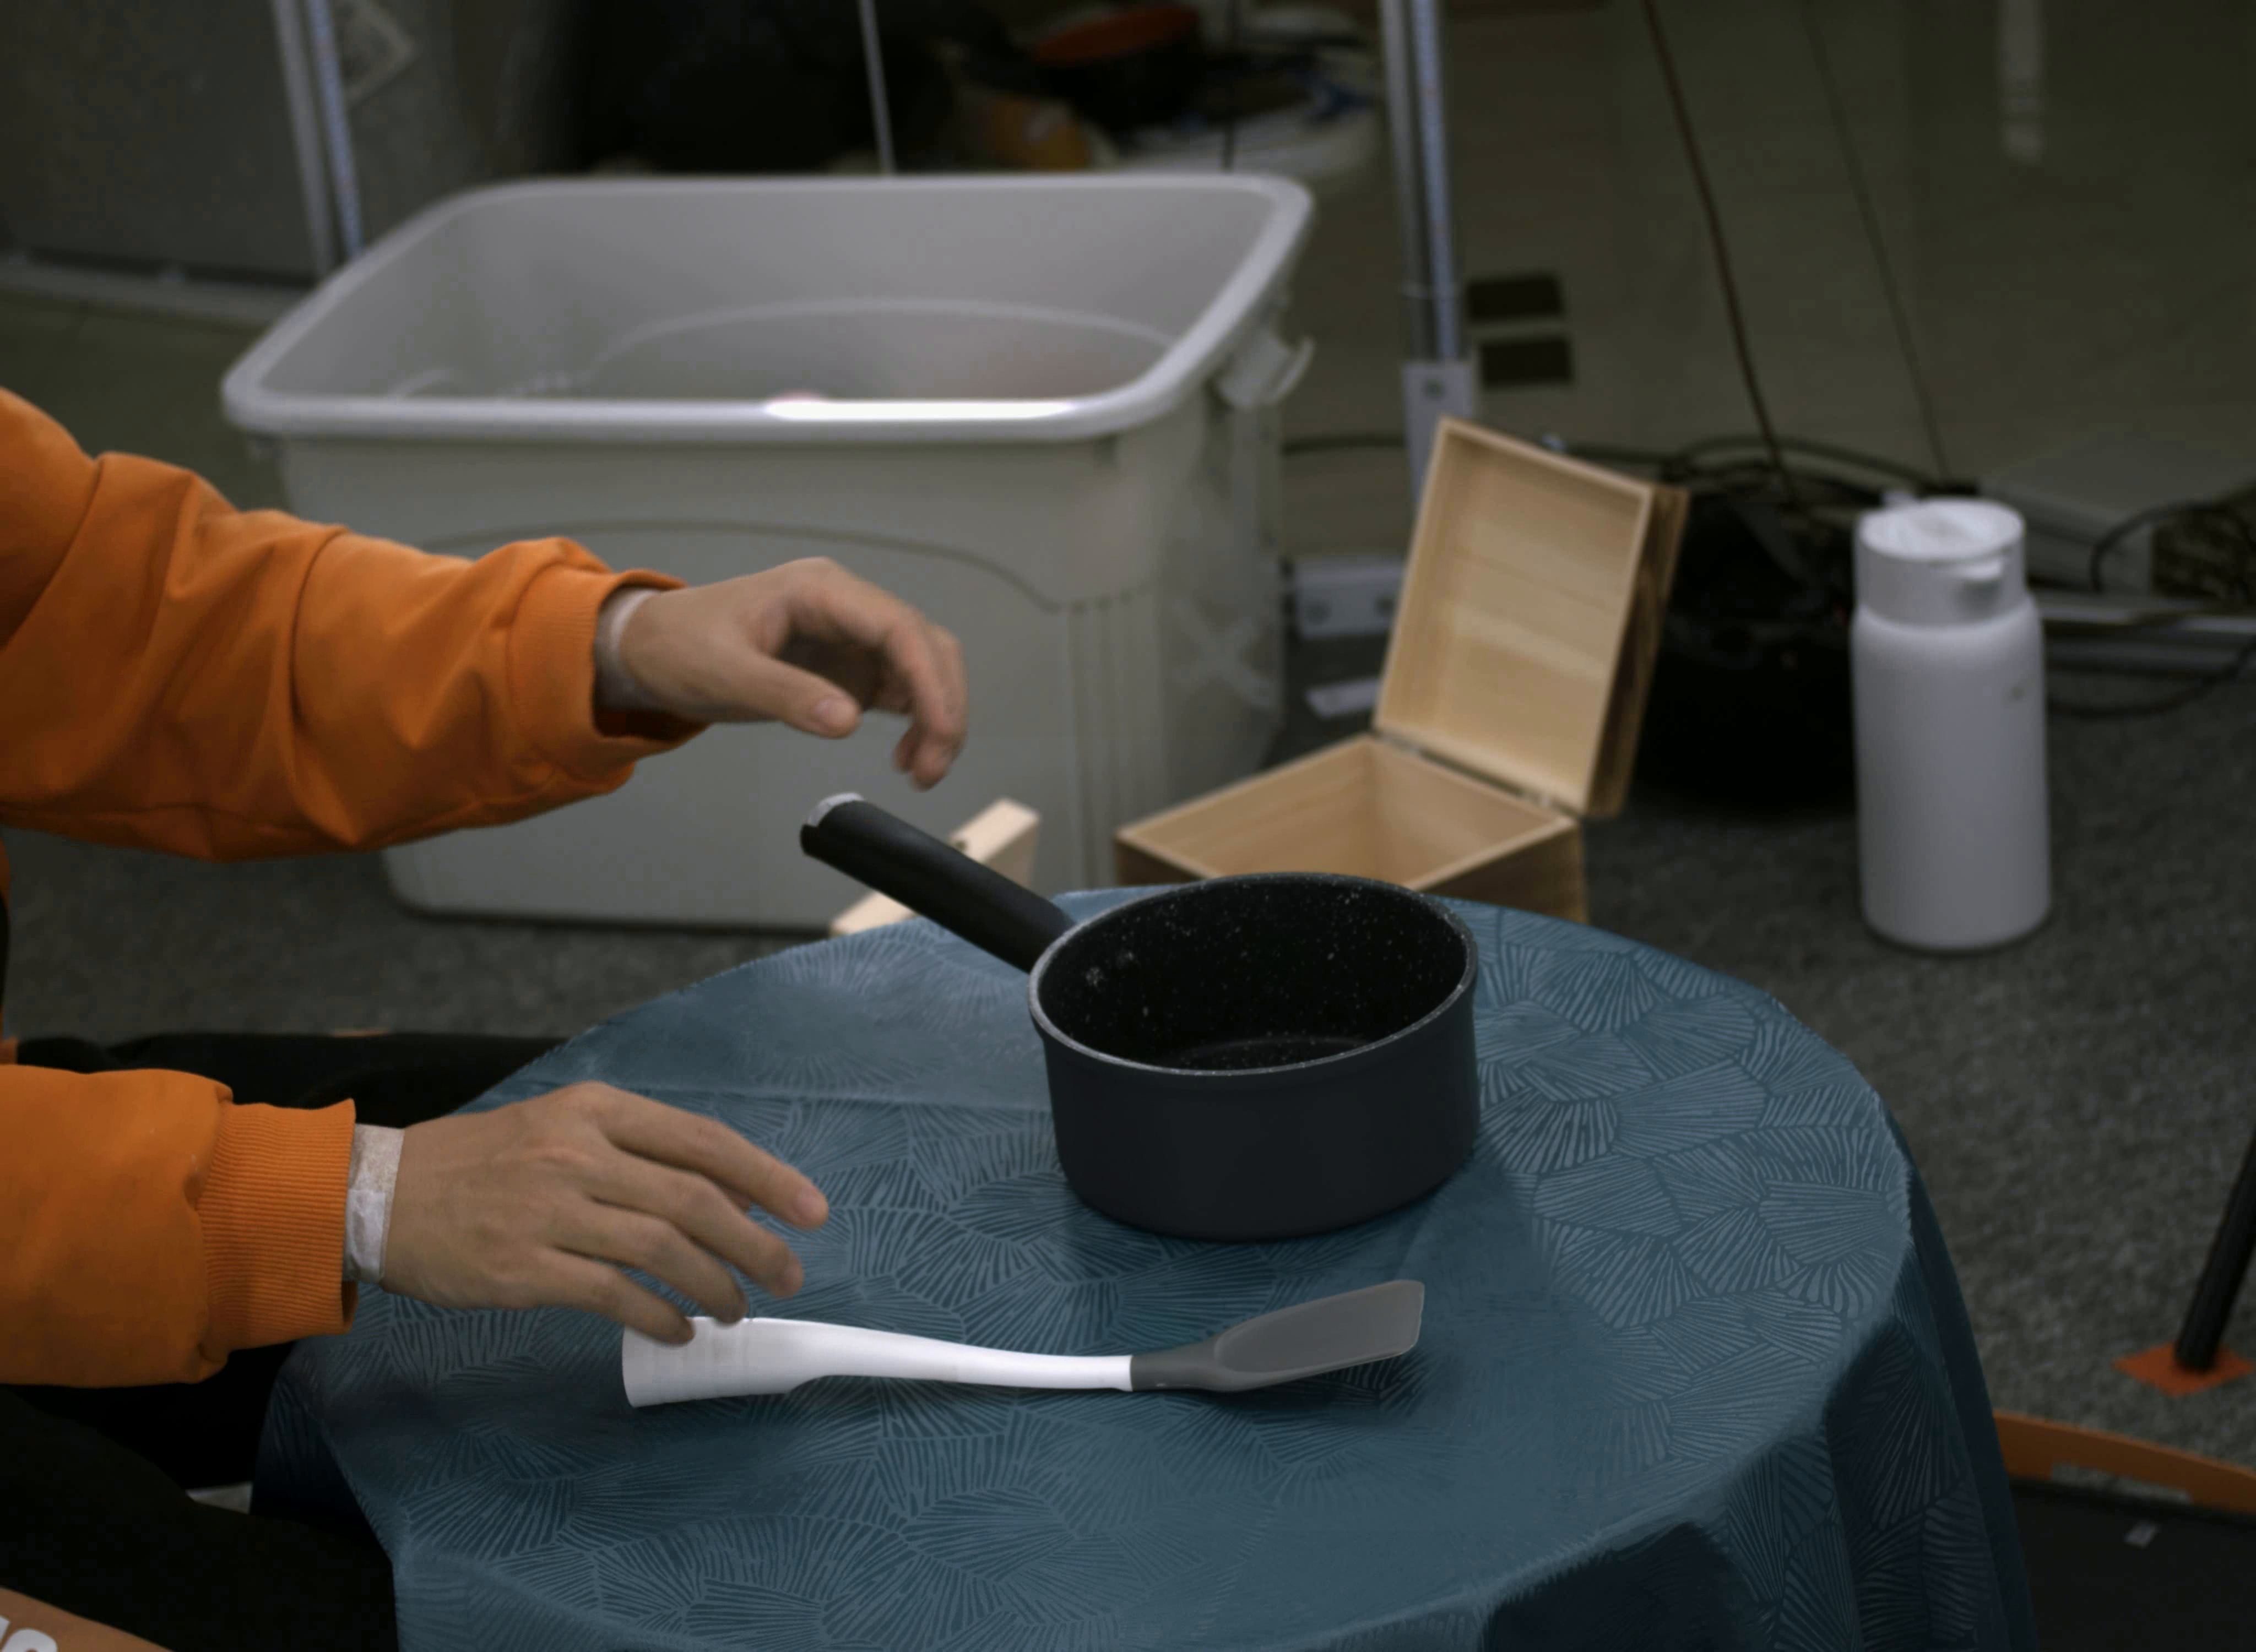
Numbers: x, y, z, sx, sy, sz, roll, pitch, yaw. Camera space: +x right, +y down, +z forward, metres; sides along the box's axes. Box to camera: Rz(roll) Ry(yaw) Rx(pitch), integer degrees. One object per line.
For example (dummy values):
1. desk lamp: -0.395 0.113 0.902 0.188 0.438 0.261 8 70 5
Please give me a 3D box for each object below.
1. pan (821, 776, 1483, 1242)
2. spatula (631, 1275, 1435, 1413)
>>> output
1. pan: -0.004 0.065 2.205 0.170 0.088 0.326 -25 33 -36
2. spatula: -0.033 0.187 2.016 0.287 0.032 0.058 -3 21 8
